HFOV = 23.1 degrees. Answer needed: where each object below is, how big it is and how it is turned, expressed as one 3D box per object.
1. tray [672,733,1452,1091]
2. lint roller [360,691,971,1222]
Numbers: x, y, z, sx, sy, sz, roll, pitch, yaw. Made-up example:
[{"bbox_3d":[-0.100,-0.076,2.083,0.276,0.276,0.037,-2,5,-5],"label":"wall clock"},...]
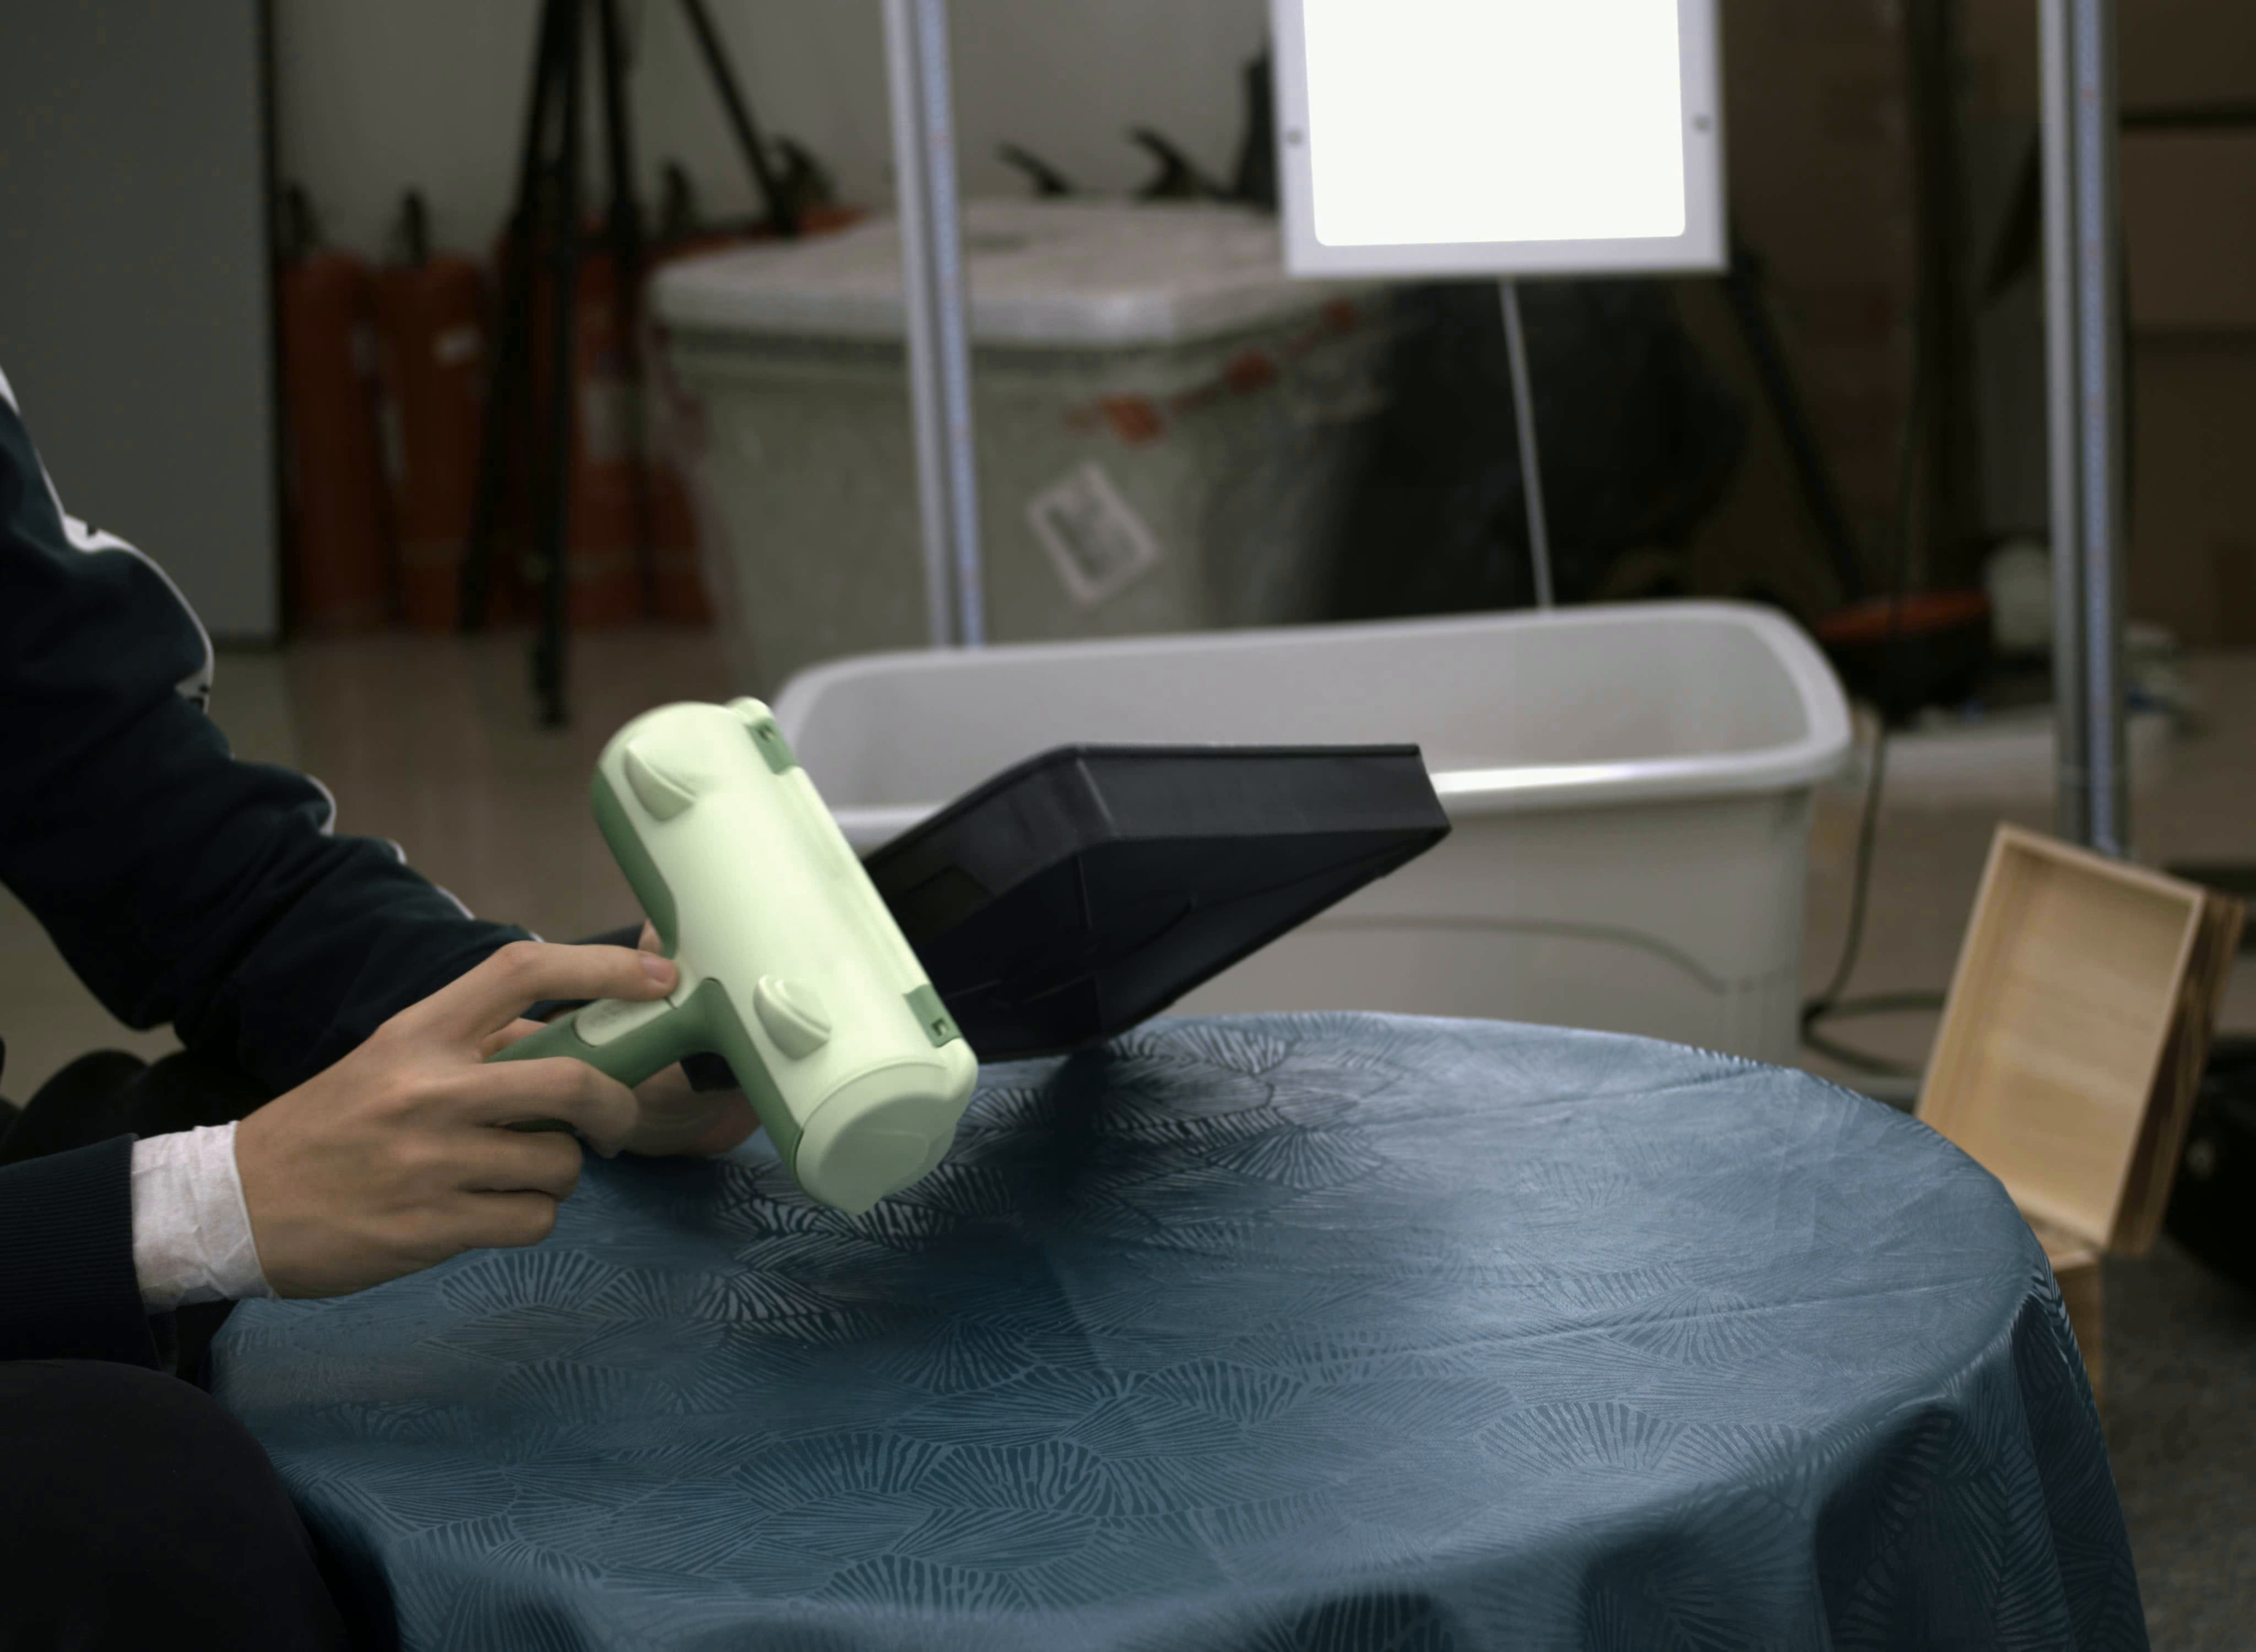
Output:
[{"bbox_3d":[-0.021,0.029,1.906,0.187,0.037,0.311,-32,-14,24],"label":"tray"},{"bbox_3d":[-0.166,0.058,1.729,0.182,0.082,0.200,-27,50,-6],"label":"lint roller"}]
